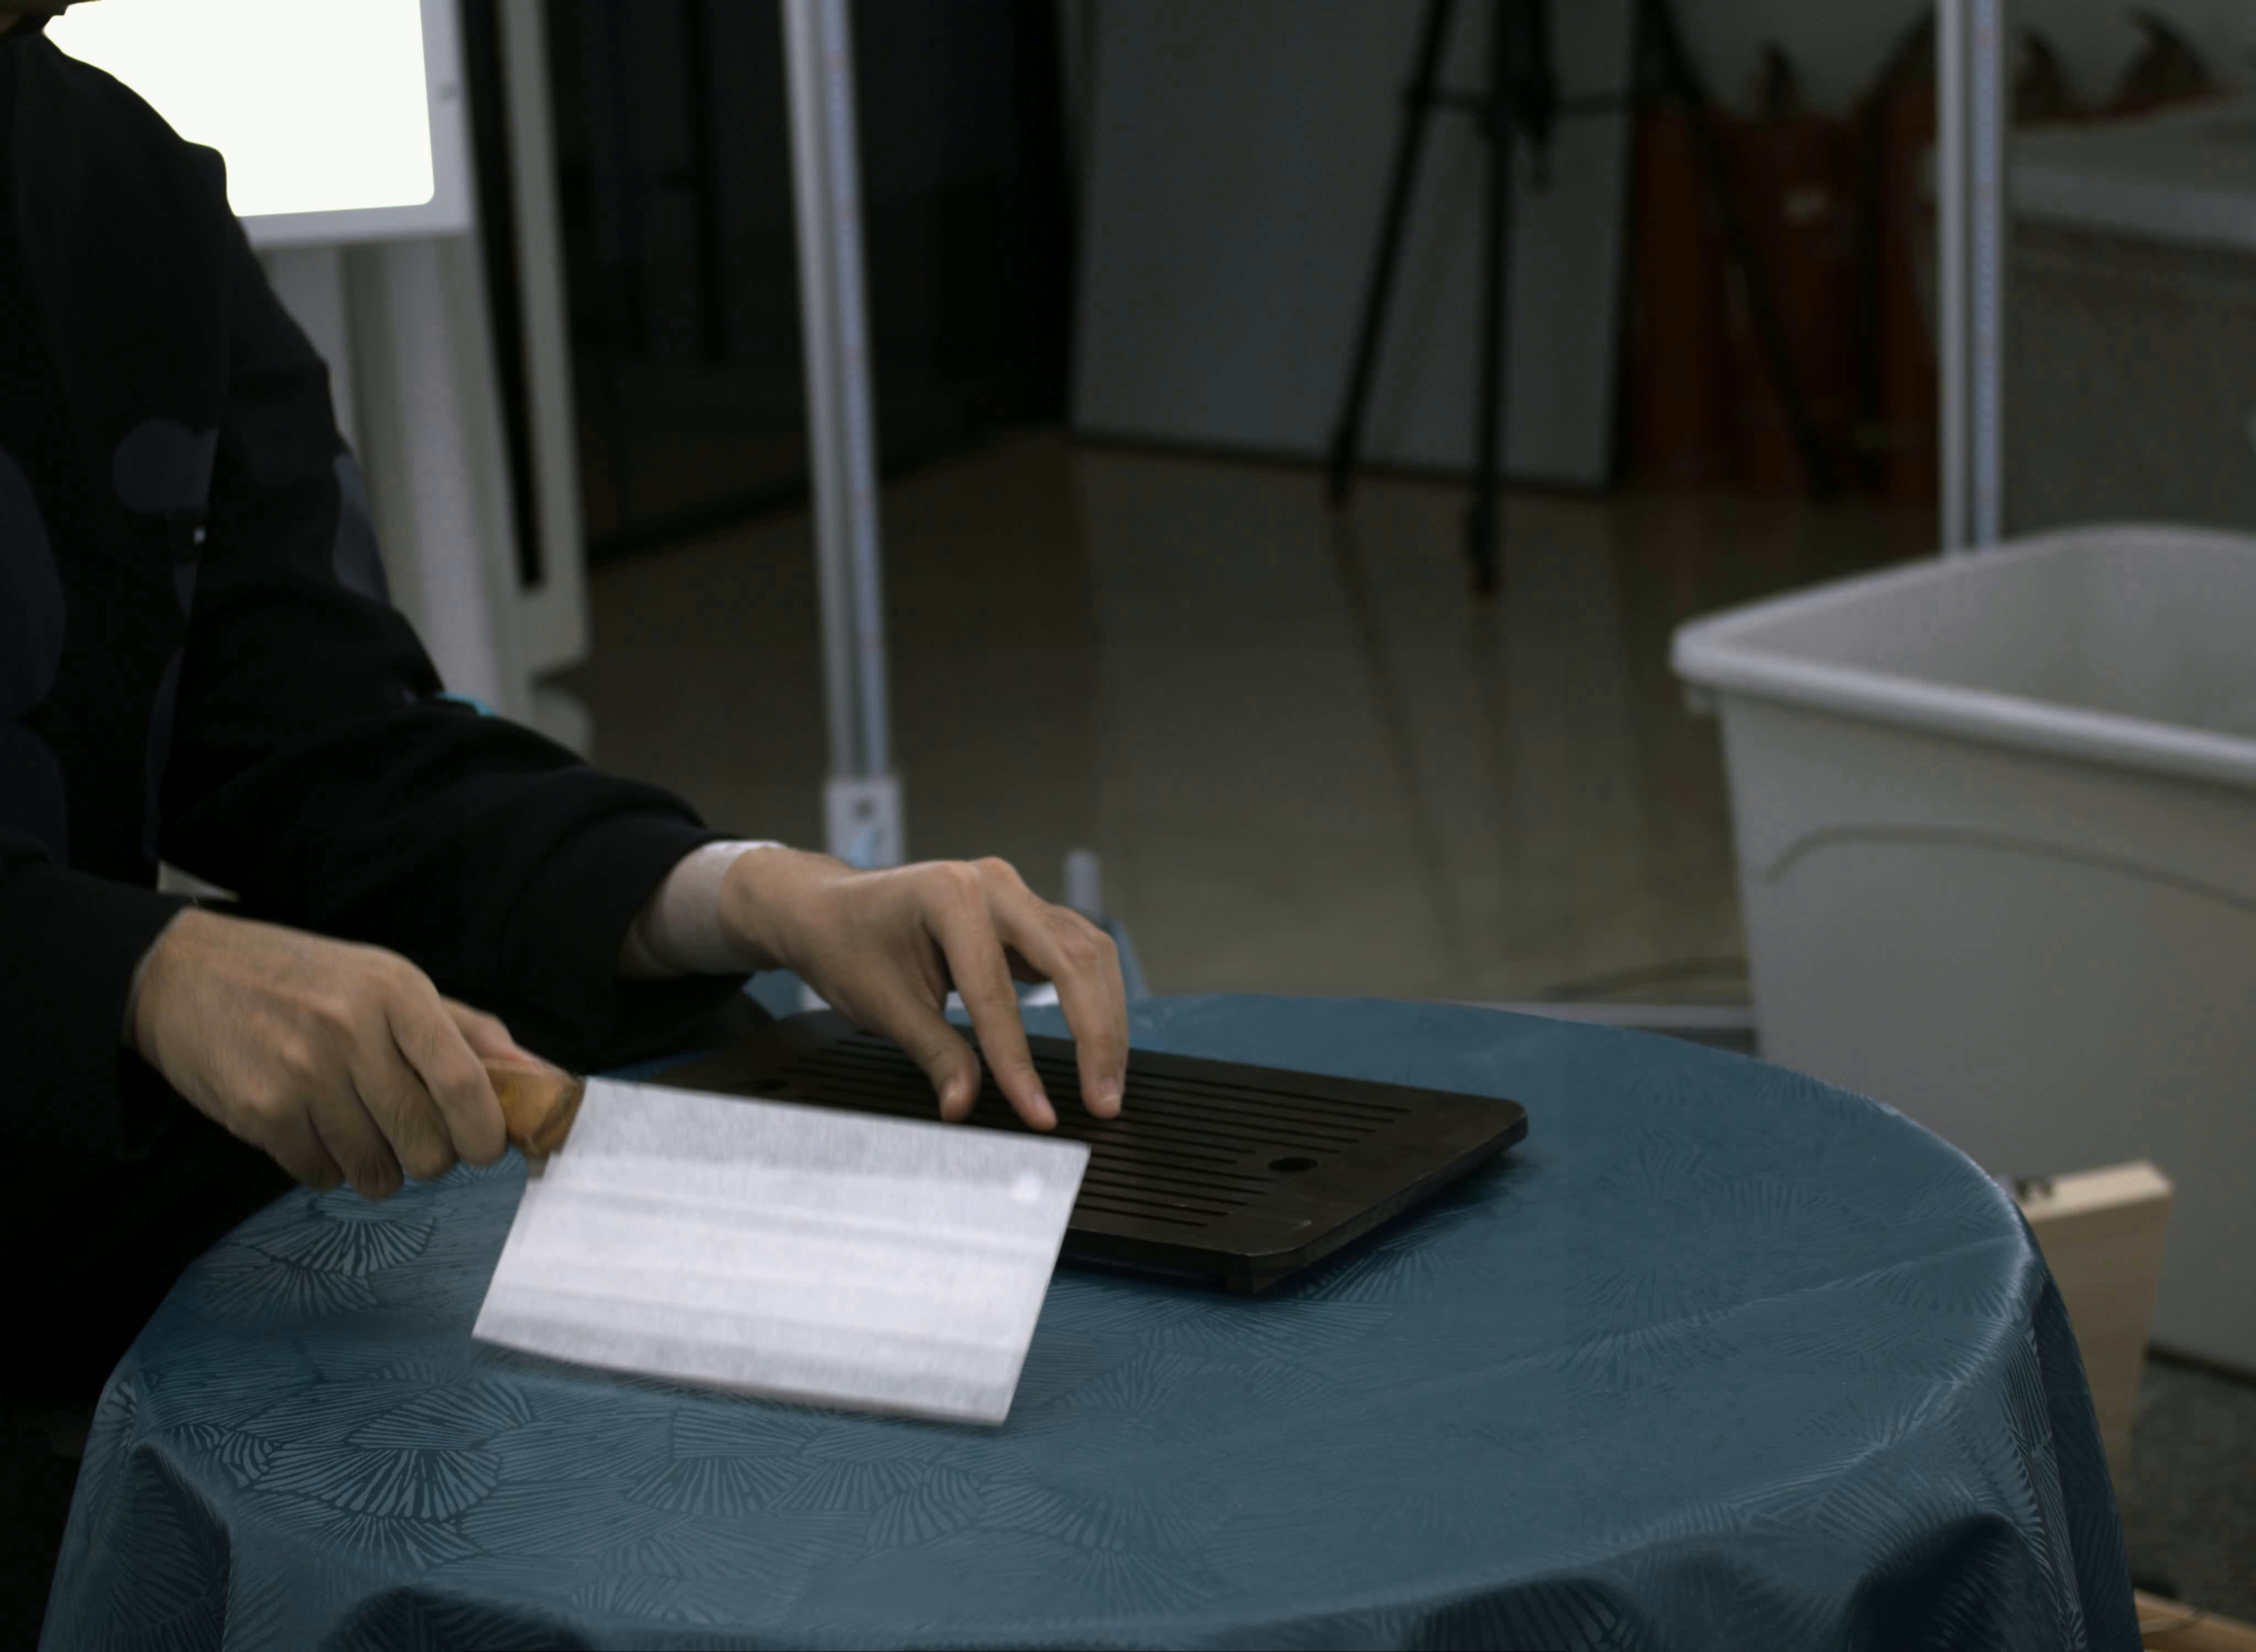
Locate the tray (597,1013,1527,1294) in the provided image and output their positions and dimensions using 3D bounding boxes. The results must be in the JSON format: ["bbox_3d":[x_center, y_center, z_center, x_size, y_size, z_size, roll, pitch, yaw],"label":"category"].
[{"bbox_3d":[-0.033,0.107,1.801,0.308,0.019,0.167,6,17,35],"label":"tray"}]

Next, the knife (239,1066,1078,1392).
[{"bbox_3d":[-0.154,0.123,1.643,0.307,0.093,0.021,5,-27,30],"label":"knife"}]
